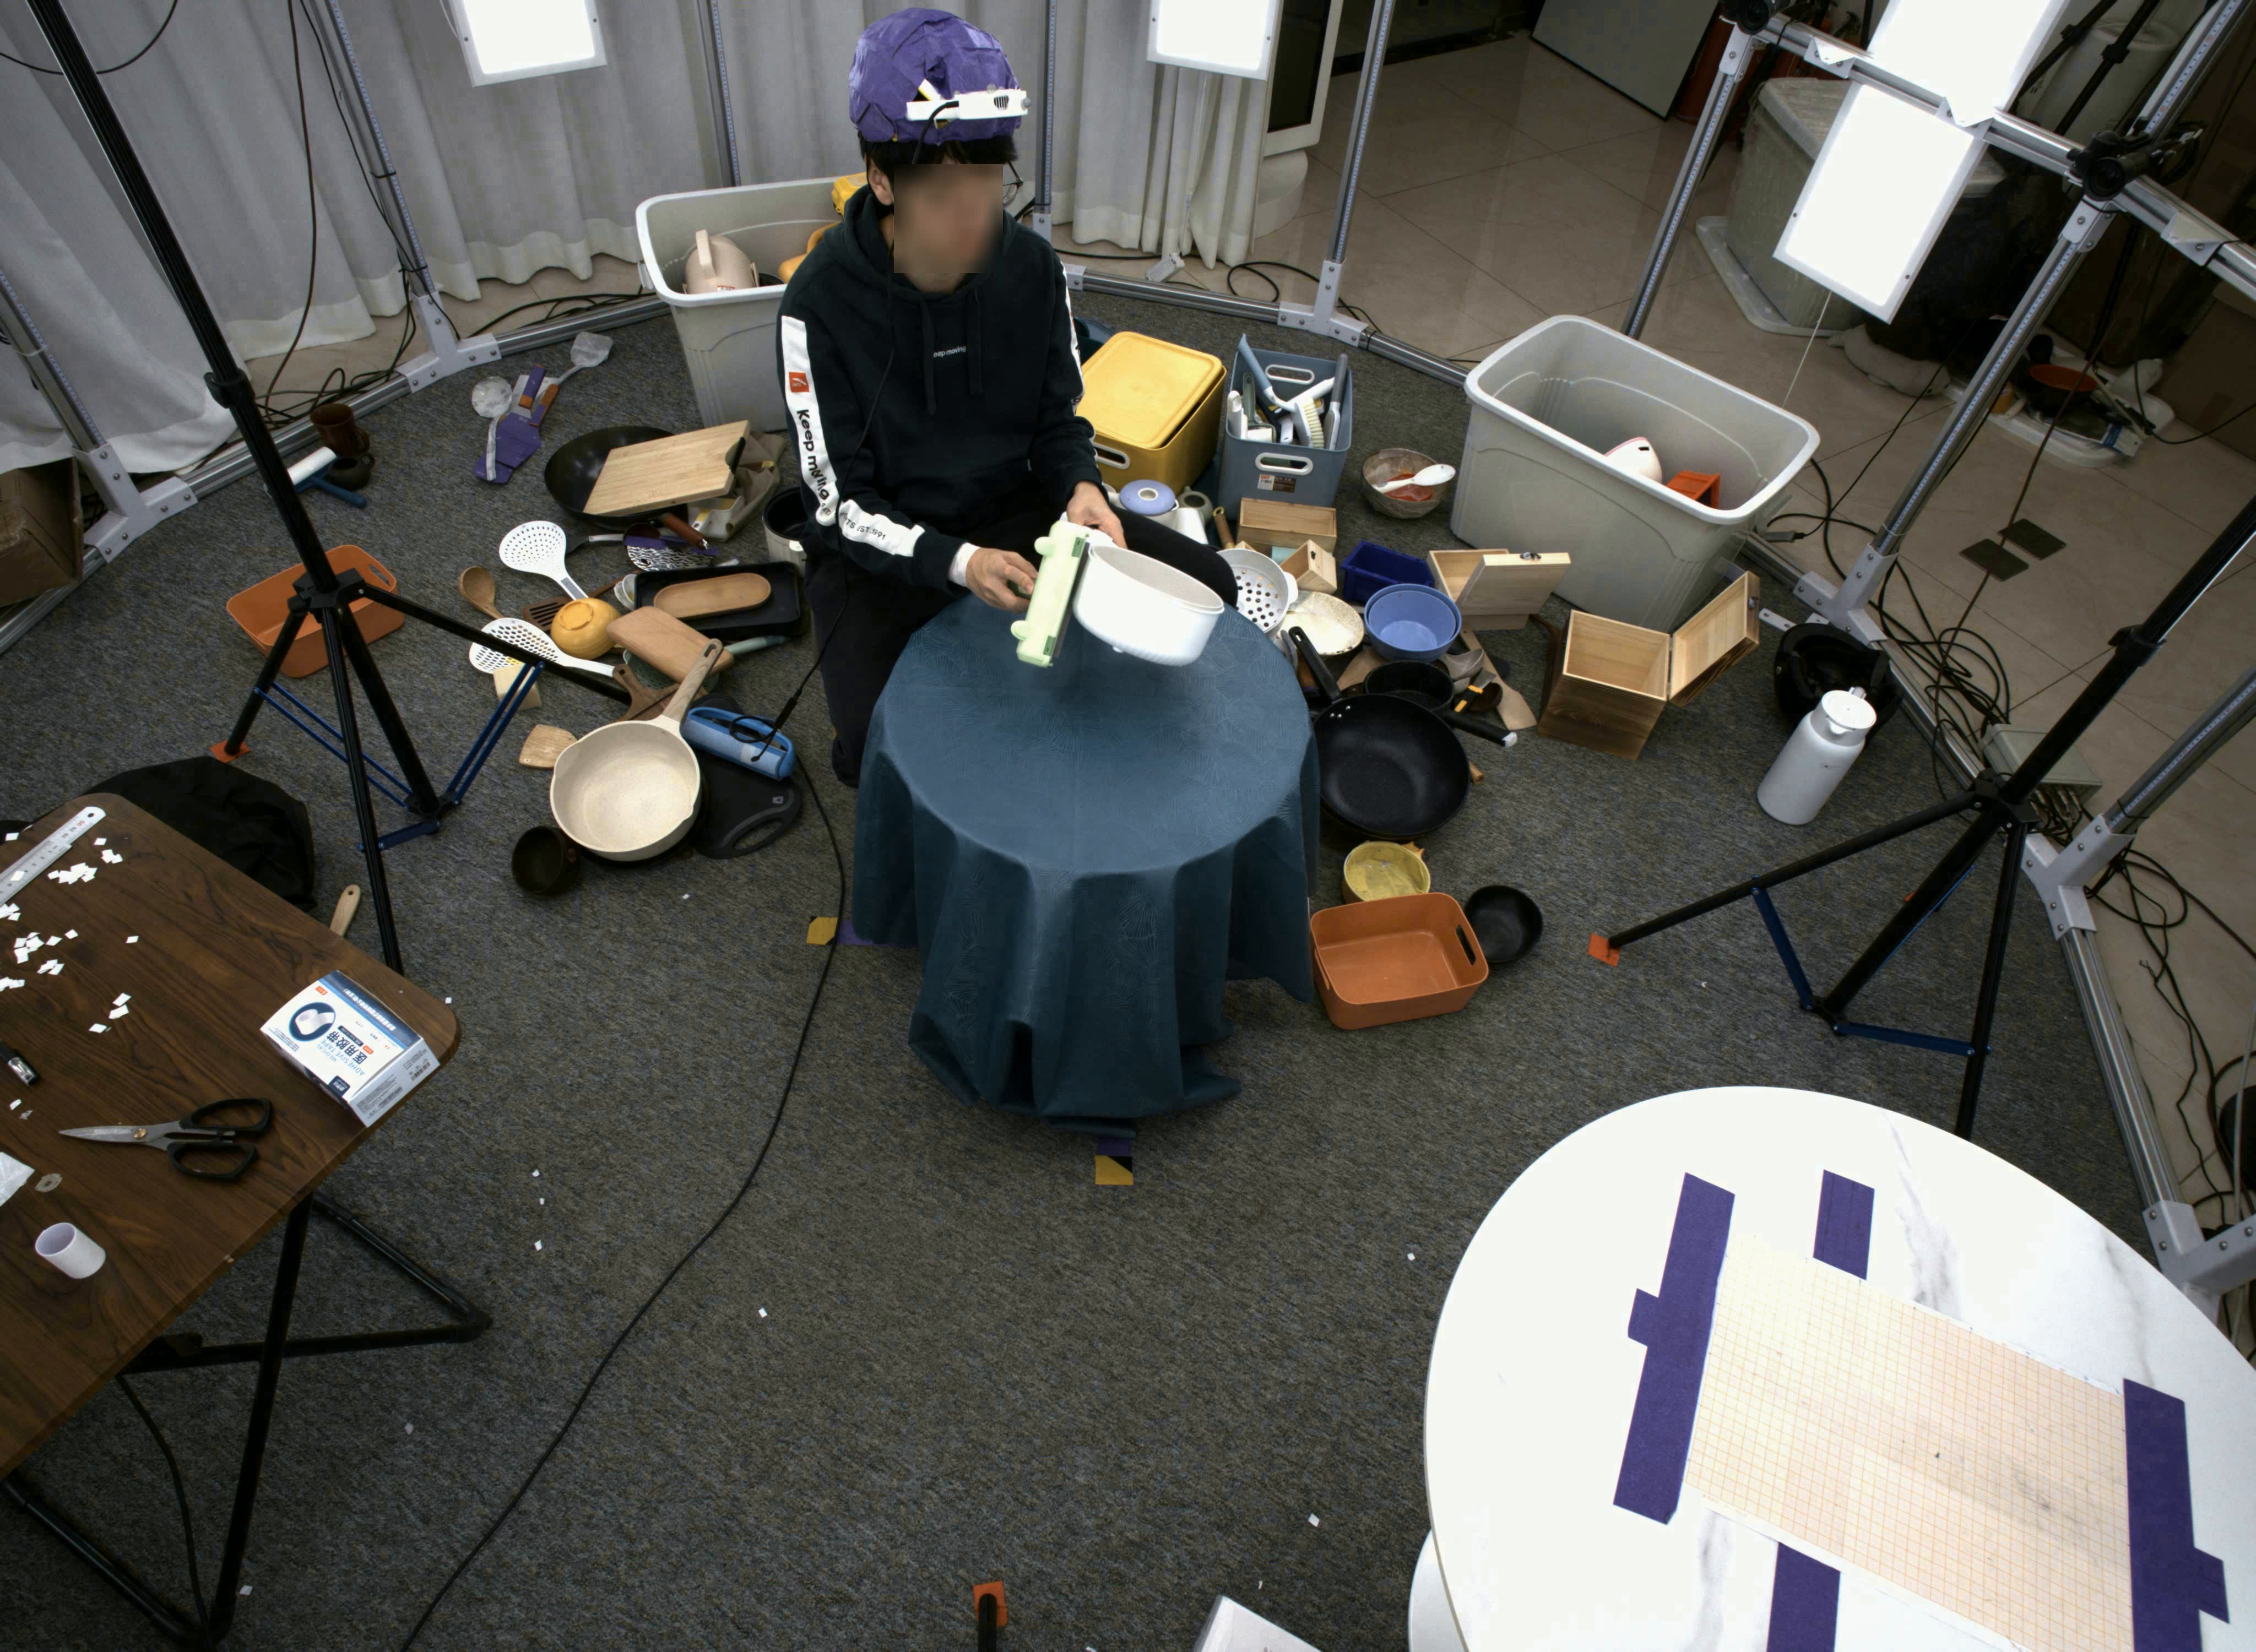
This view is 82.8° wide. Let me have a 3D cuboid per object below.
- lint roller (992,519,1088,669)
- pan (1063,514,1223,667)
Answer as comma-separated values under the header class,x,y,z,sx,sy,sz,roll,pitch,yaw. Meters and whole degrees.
class,x,y,z,sx,sy,sz,roll,pitch,yaw
lint roller,-0.146,-0.329,1.771,0.185,0.198,0.081,20,7,41
pan,-0.015,-0.337,1.824,0.199,0.101,0.362,7,26,-35
